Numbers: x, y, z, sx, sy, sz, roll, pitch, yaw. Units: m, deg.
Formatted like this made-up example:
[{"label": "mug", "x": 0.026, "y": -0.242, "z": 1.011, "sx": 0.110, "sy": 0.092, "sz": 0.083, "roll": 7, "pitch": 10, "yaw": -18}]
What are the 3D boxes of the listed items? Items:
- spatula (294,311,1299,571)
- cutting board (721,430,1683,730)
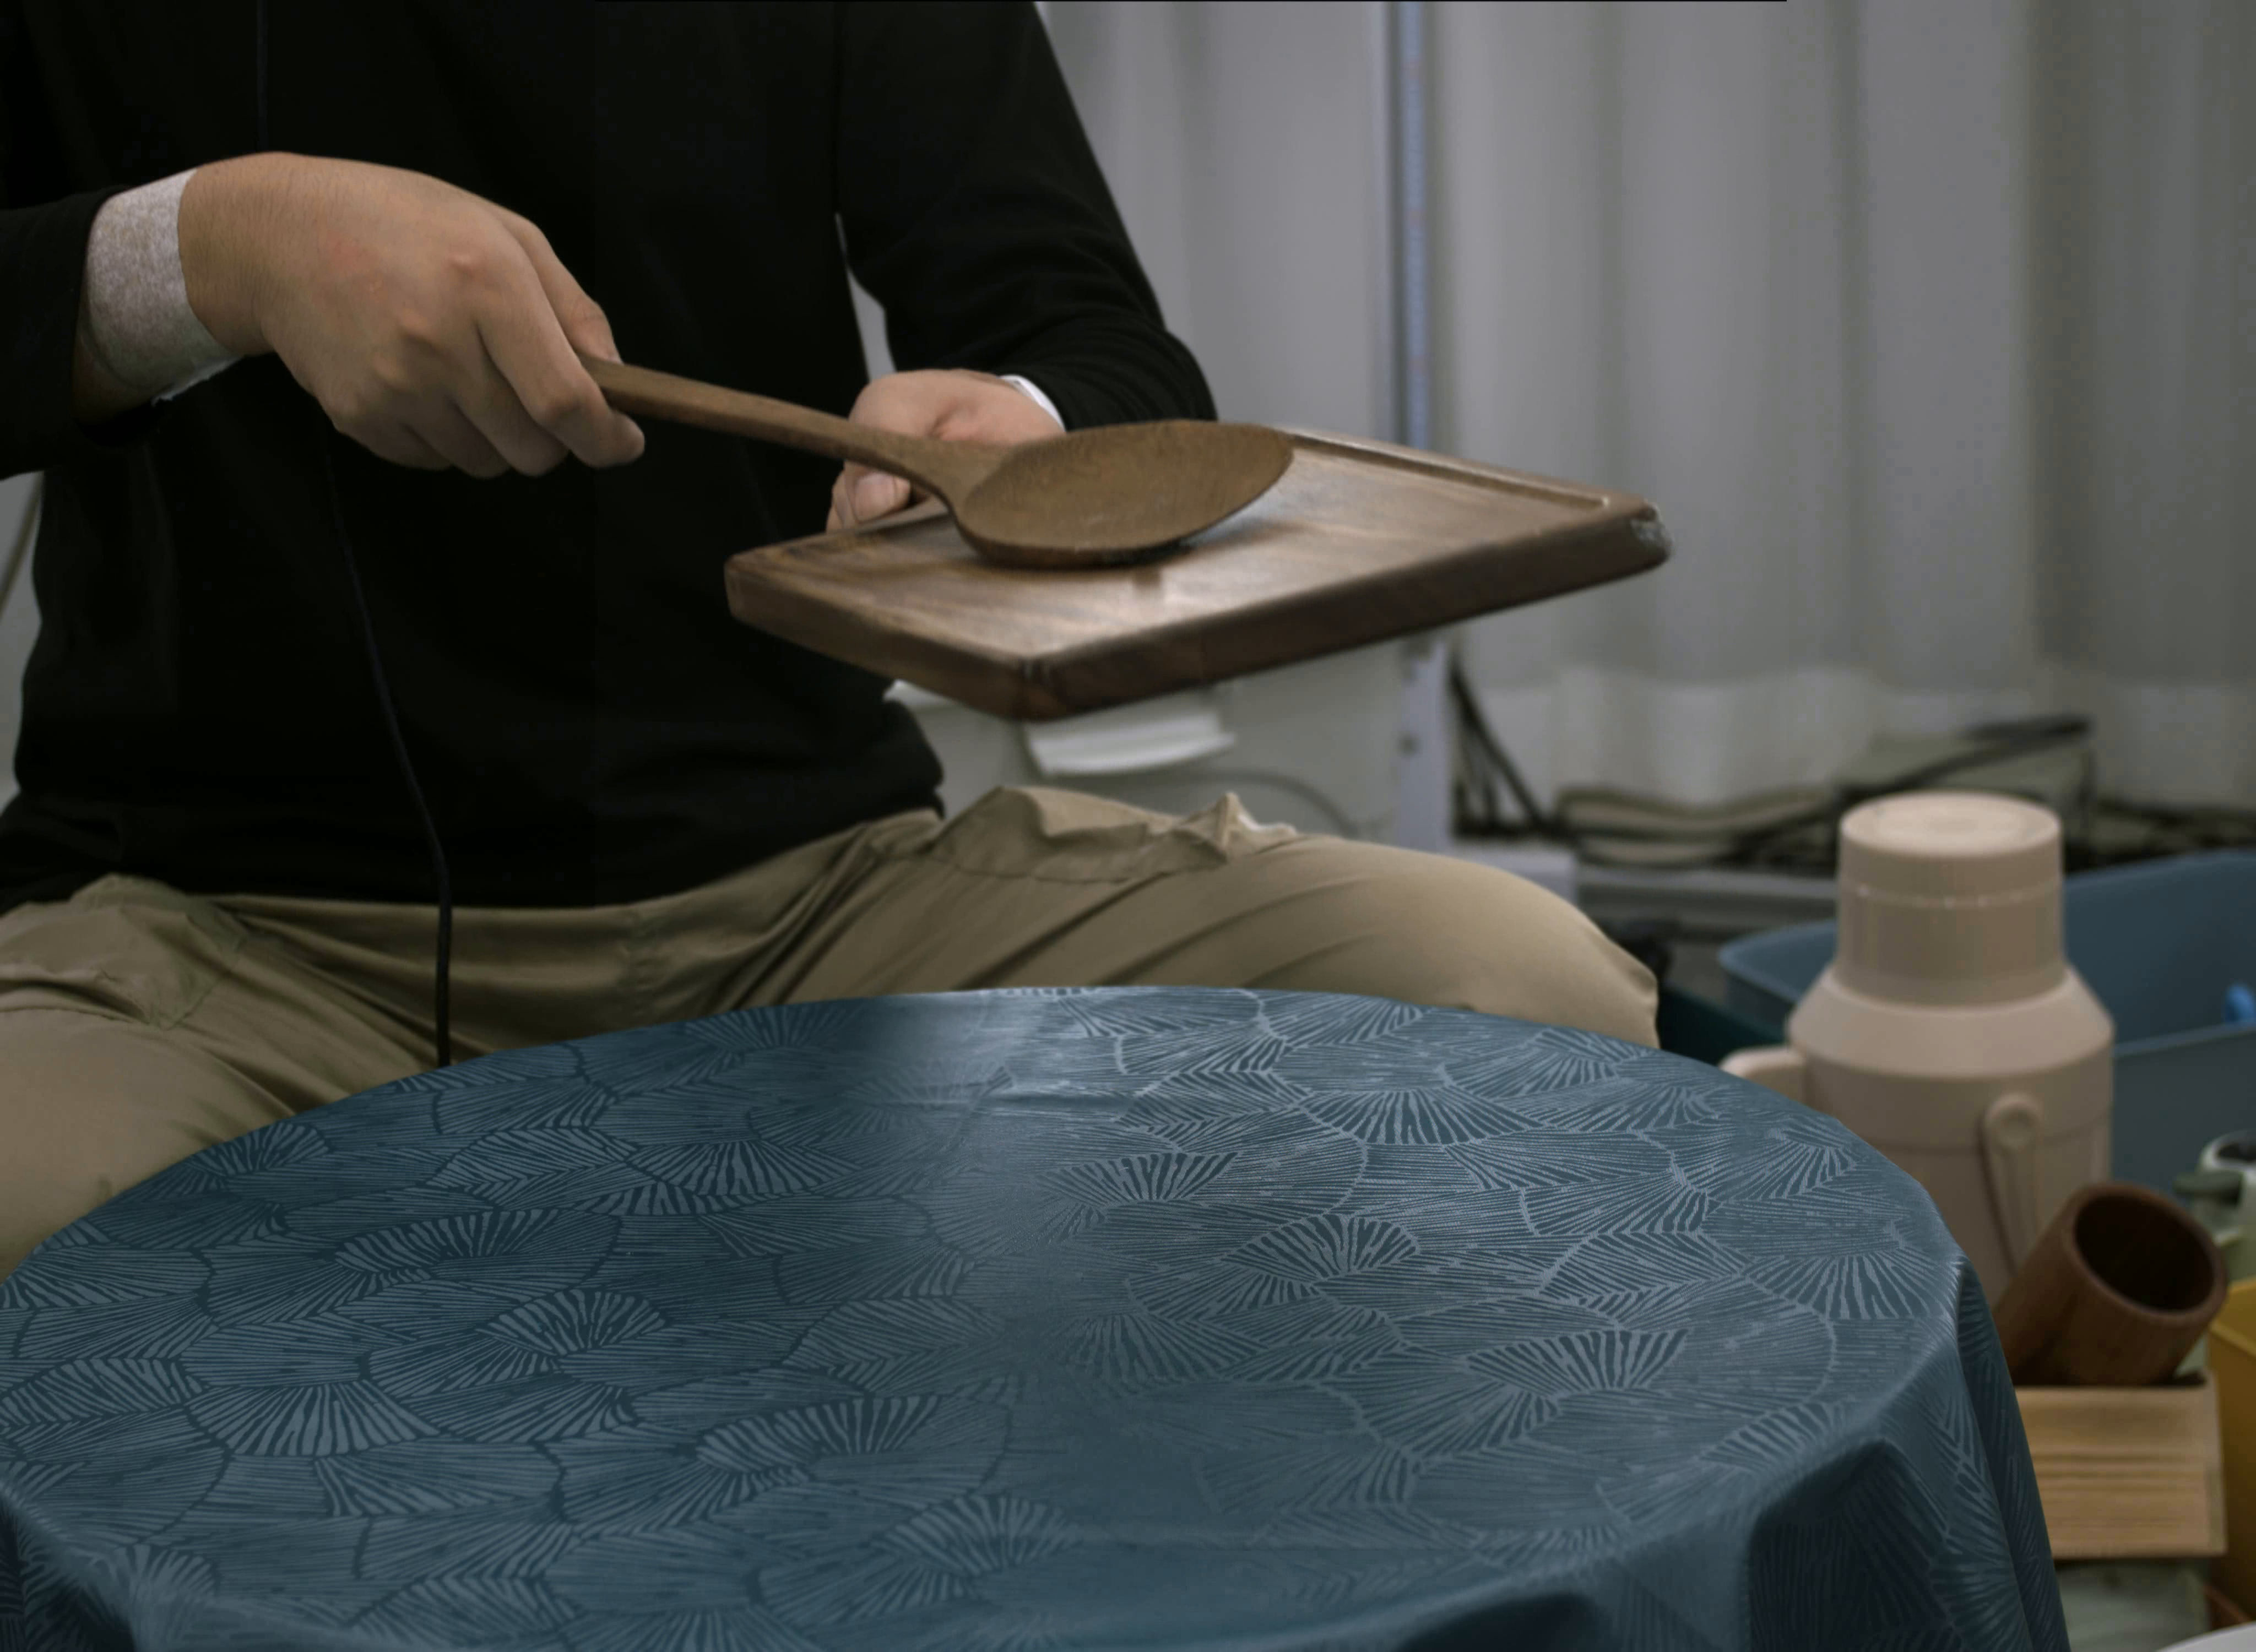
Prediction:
[{"label": "spatula", "x": -0.119, "y": -0.125, "z": 1.681, "sx": 0.388, "sy": 0.015, "sz": 0.096, "roll": 14, "pitch": 34, "yaw": 36}, {"label": "cutting board", "x": -0.005, "y": -0.082, "z": 1.611, "sx": 0.200, "sy": 0.023, "sz": 0.354, "roll": -14, "pitch": 14, "yaw": -21}]
